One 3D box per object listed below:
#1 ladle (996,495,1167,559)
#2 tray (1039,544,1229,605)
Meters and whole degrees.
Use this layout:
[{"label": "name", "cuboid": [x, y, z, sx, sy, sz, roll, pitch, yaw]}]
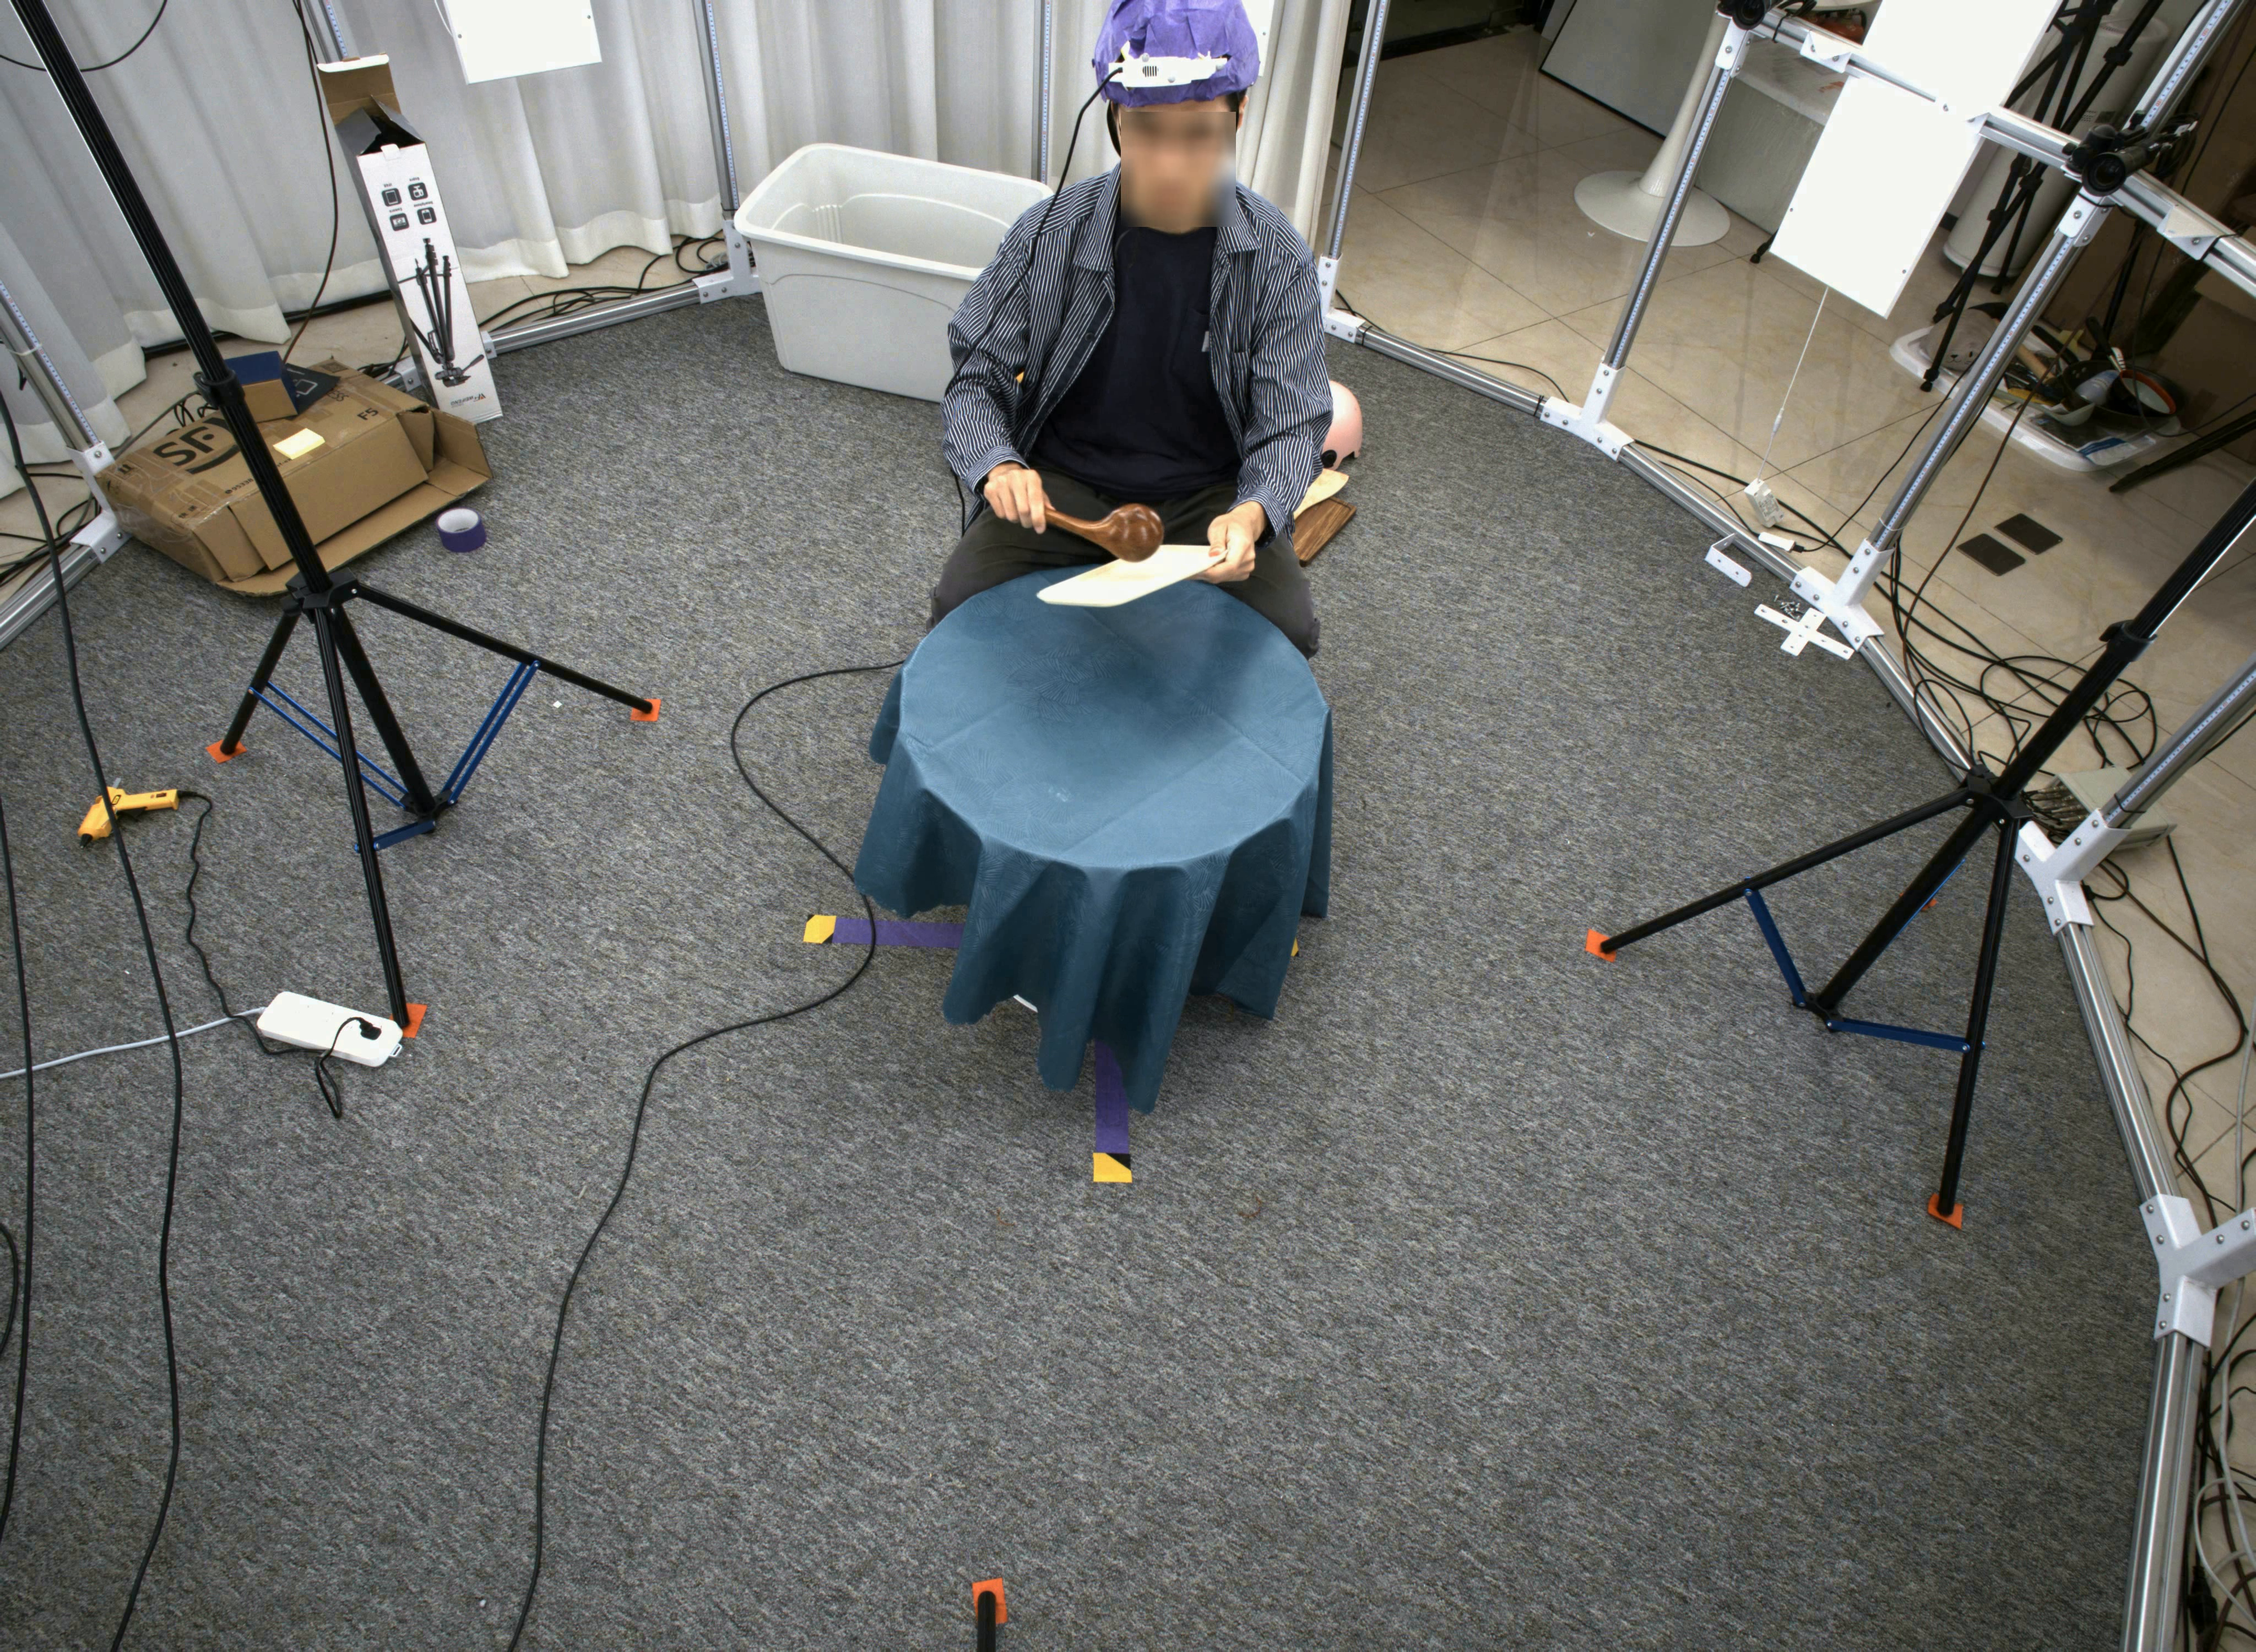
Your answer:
[{"label": "ladle", "cuboid": [-0.065, -0.433, 1.793, 0.278, 0.080, 0.077, 25, 36, 38]}, {"label": "tray", "cuboid": [0.010, -0.340, 1.742, 0.241, 0.017, 0.173, -29, 27, -35]}]
